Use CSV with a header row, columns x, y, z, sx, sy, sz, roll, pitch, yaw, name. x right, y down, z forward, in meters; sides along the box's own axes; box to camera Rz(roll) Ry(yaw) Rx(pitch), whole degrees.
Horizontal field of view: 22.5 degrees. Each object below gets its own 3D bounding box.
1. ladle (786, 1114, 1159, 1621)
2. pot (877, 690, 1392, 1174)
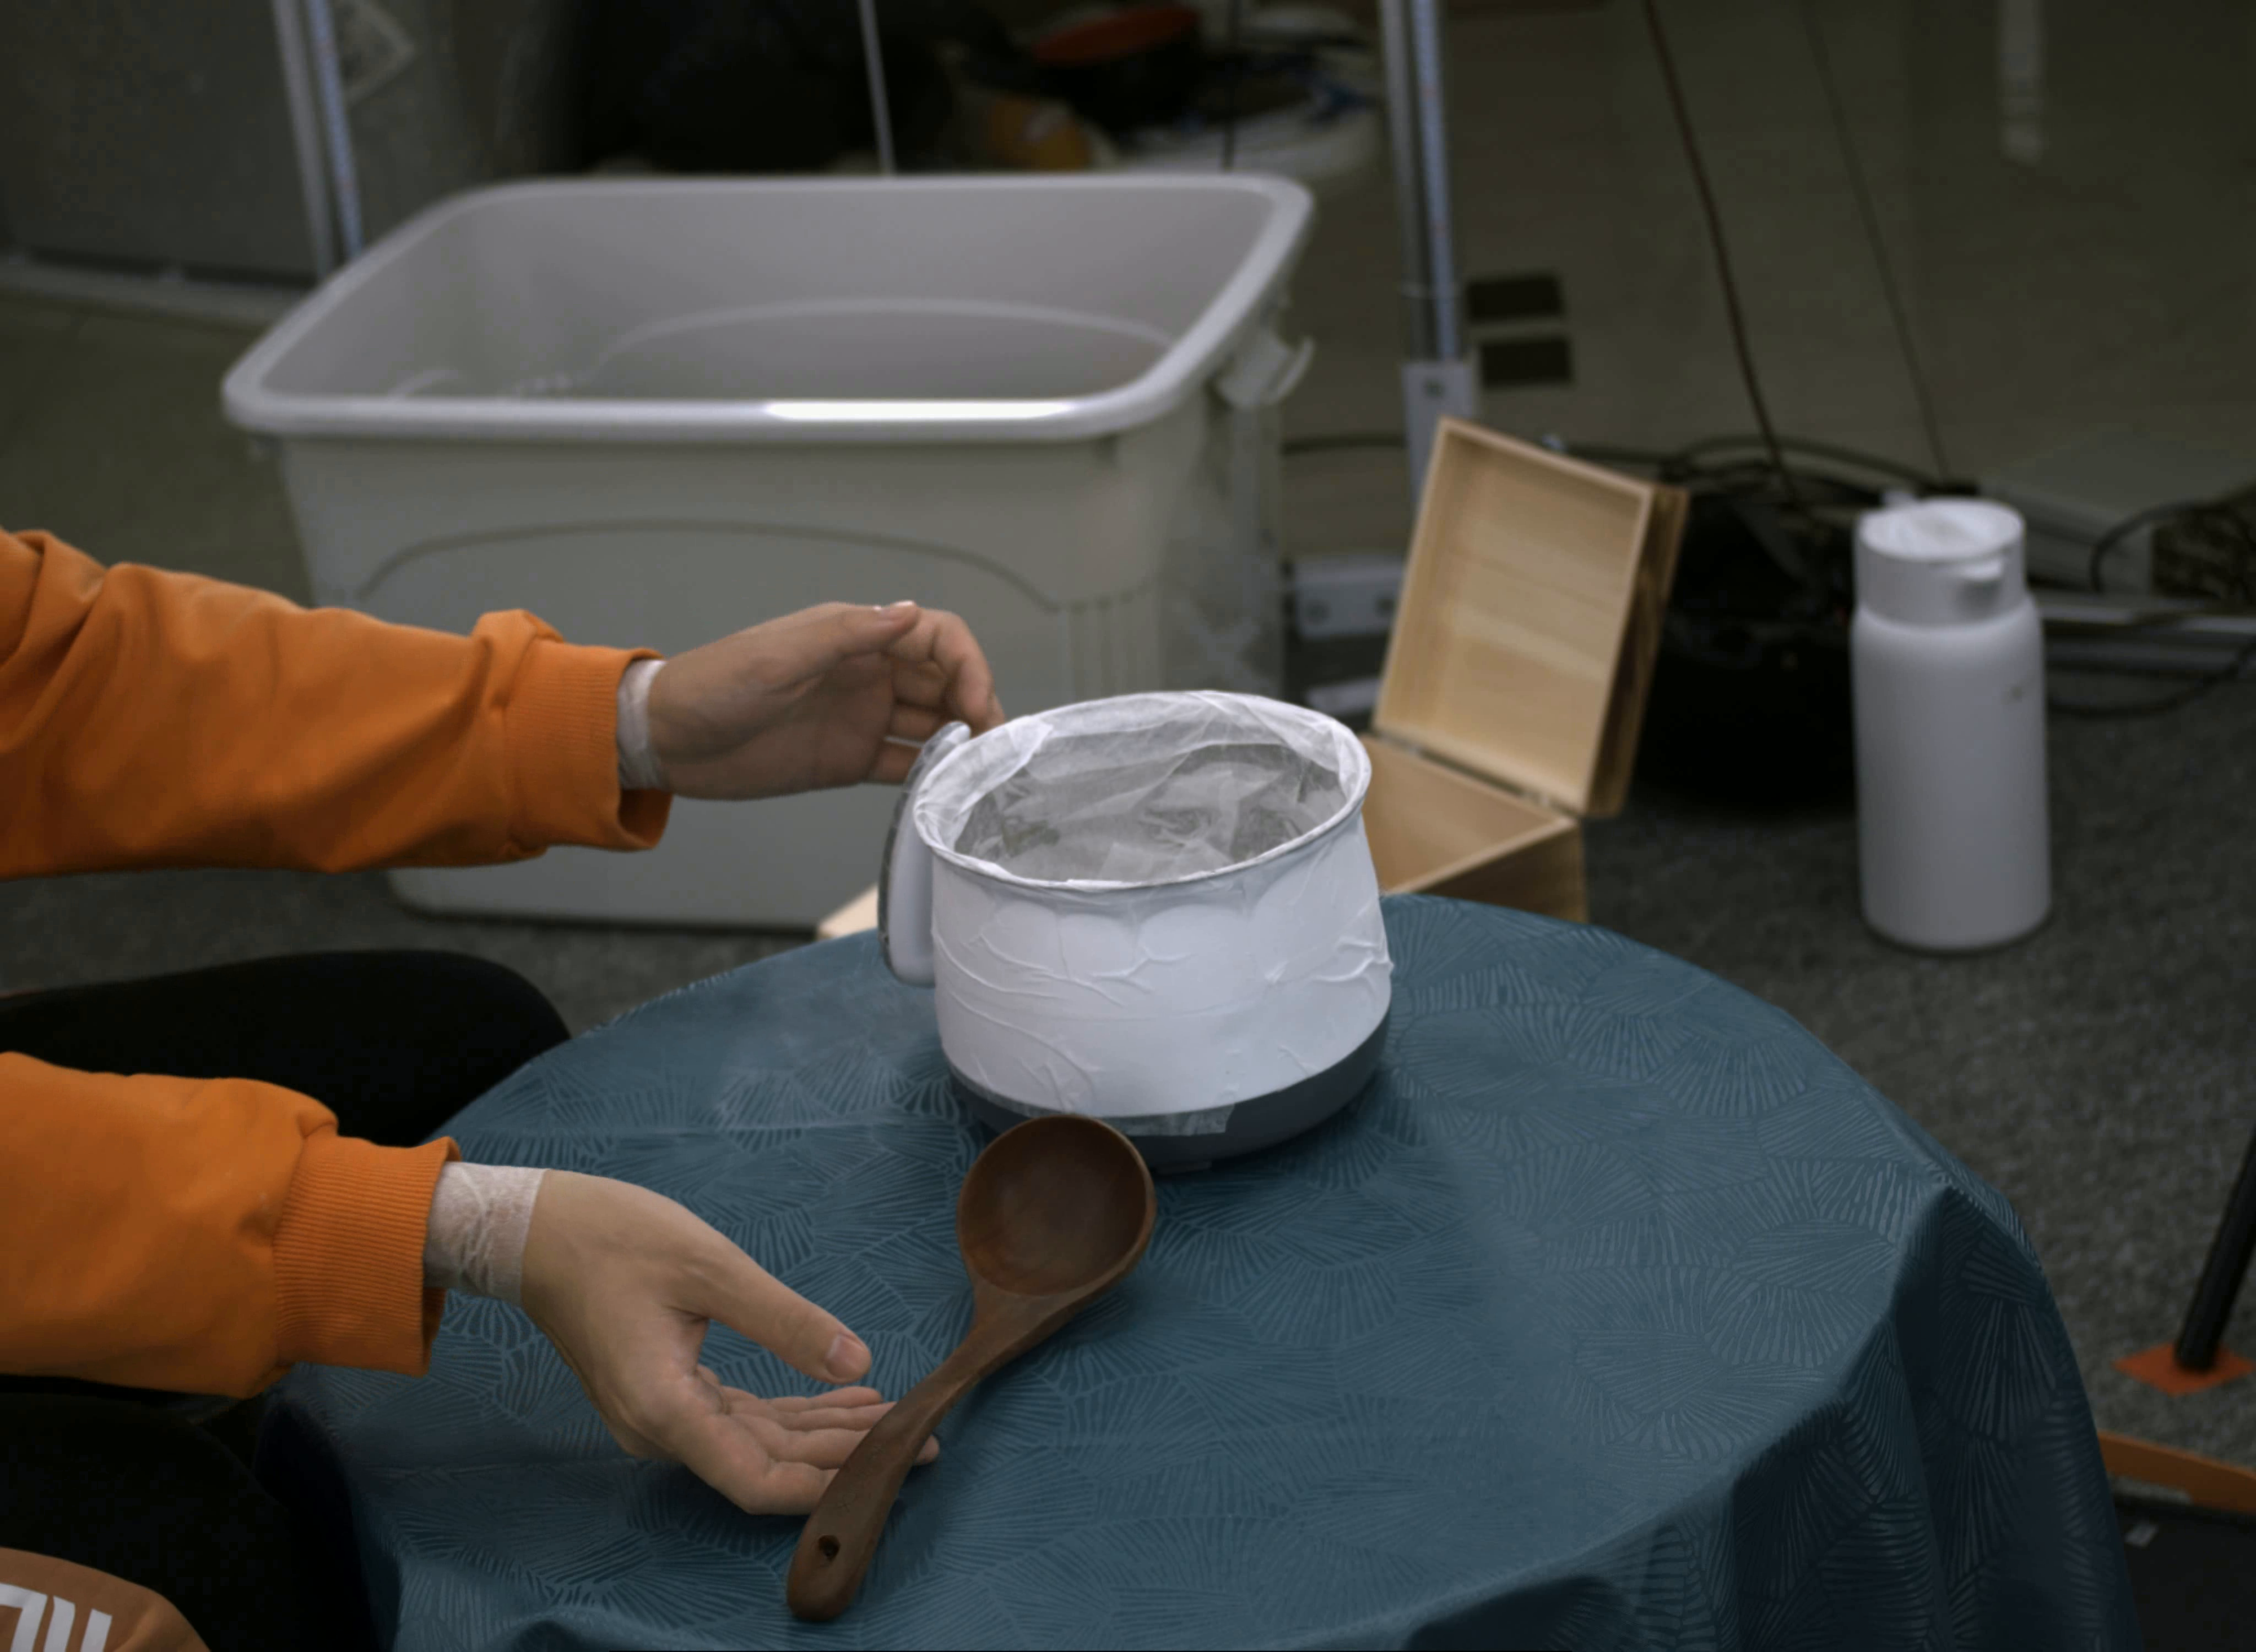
x,y,z,sx,sy,sz,roll,pitch,yaw,name
-0.062,0.184,1.989,0.076,0.066,0.257,3,26,24,ladle
-0.010,0.036,2.204,0.232,0.139,0.177,16,33,38,pot
